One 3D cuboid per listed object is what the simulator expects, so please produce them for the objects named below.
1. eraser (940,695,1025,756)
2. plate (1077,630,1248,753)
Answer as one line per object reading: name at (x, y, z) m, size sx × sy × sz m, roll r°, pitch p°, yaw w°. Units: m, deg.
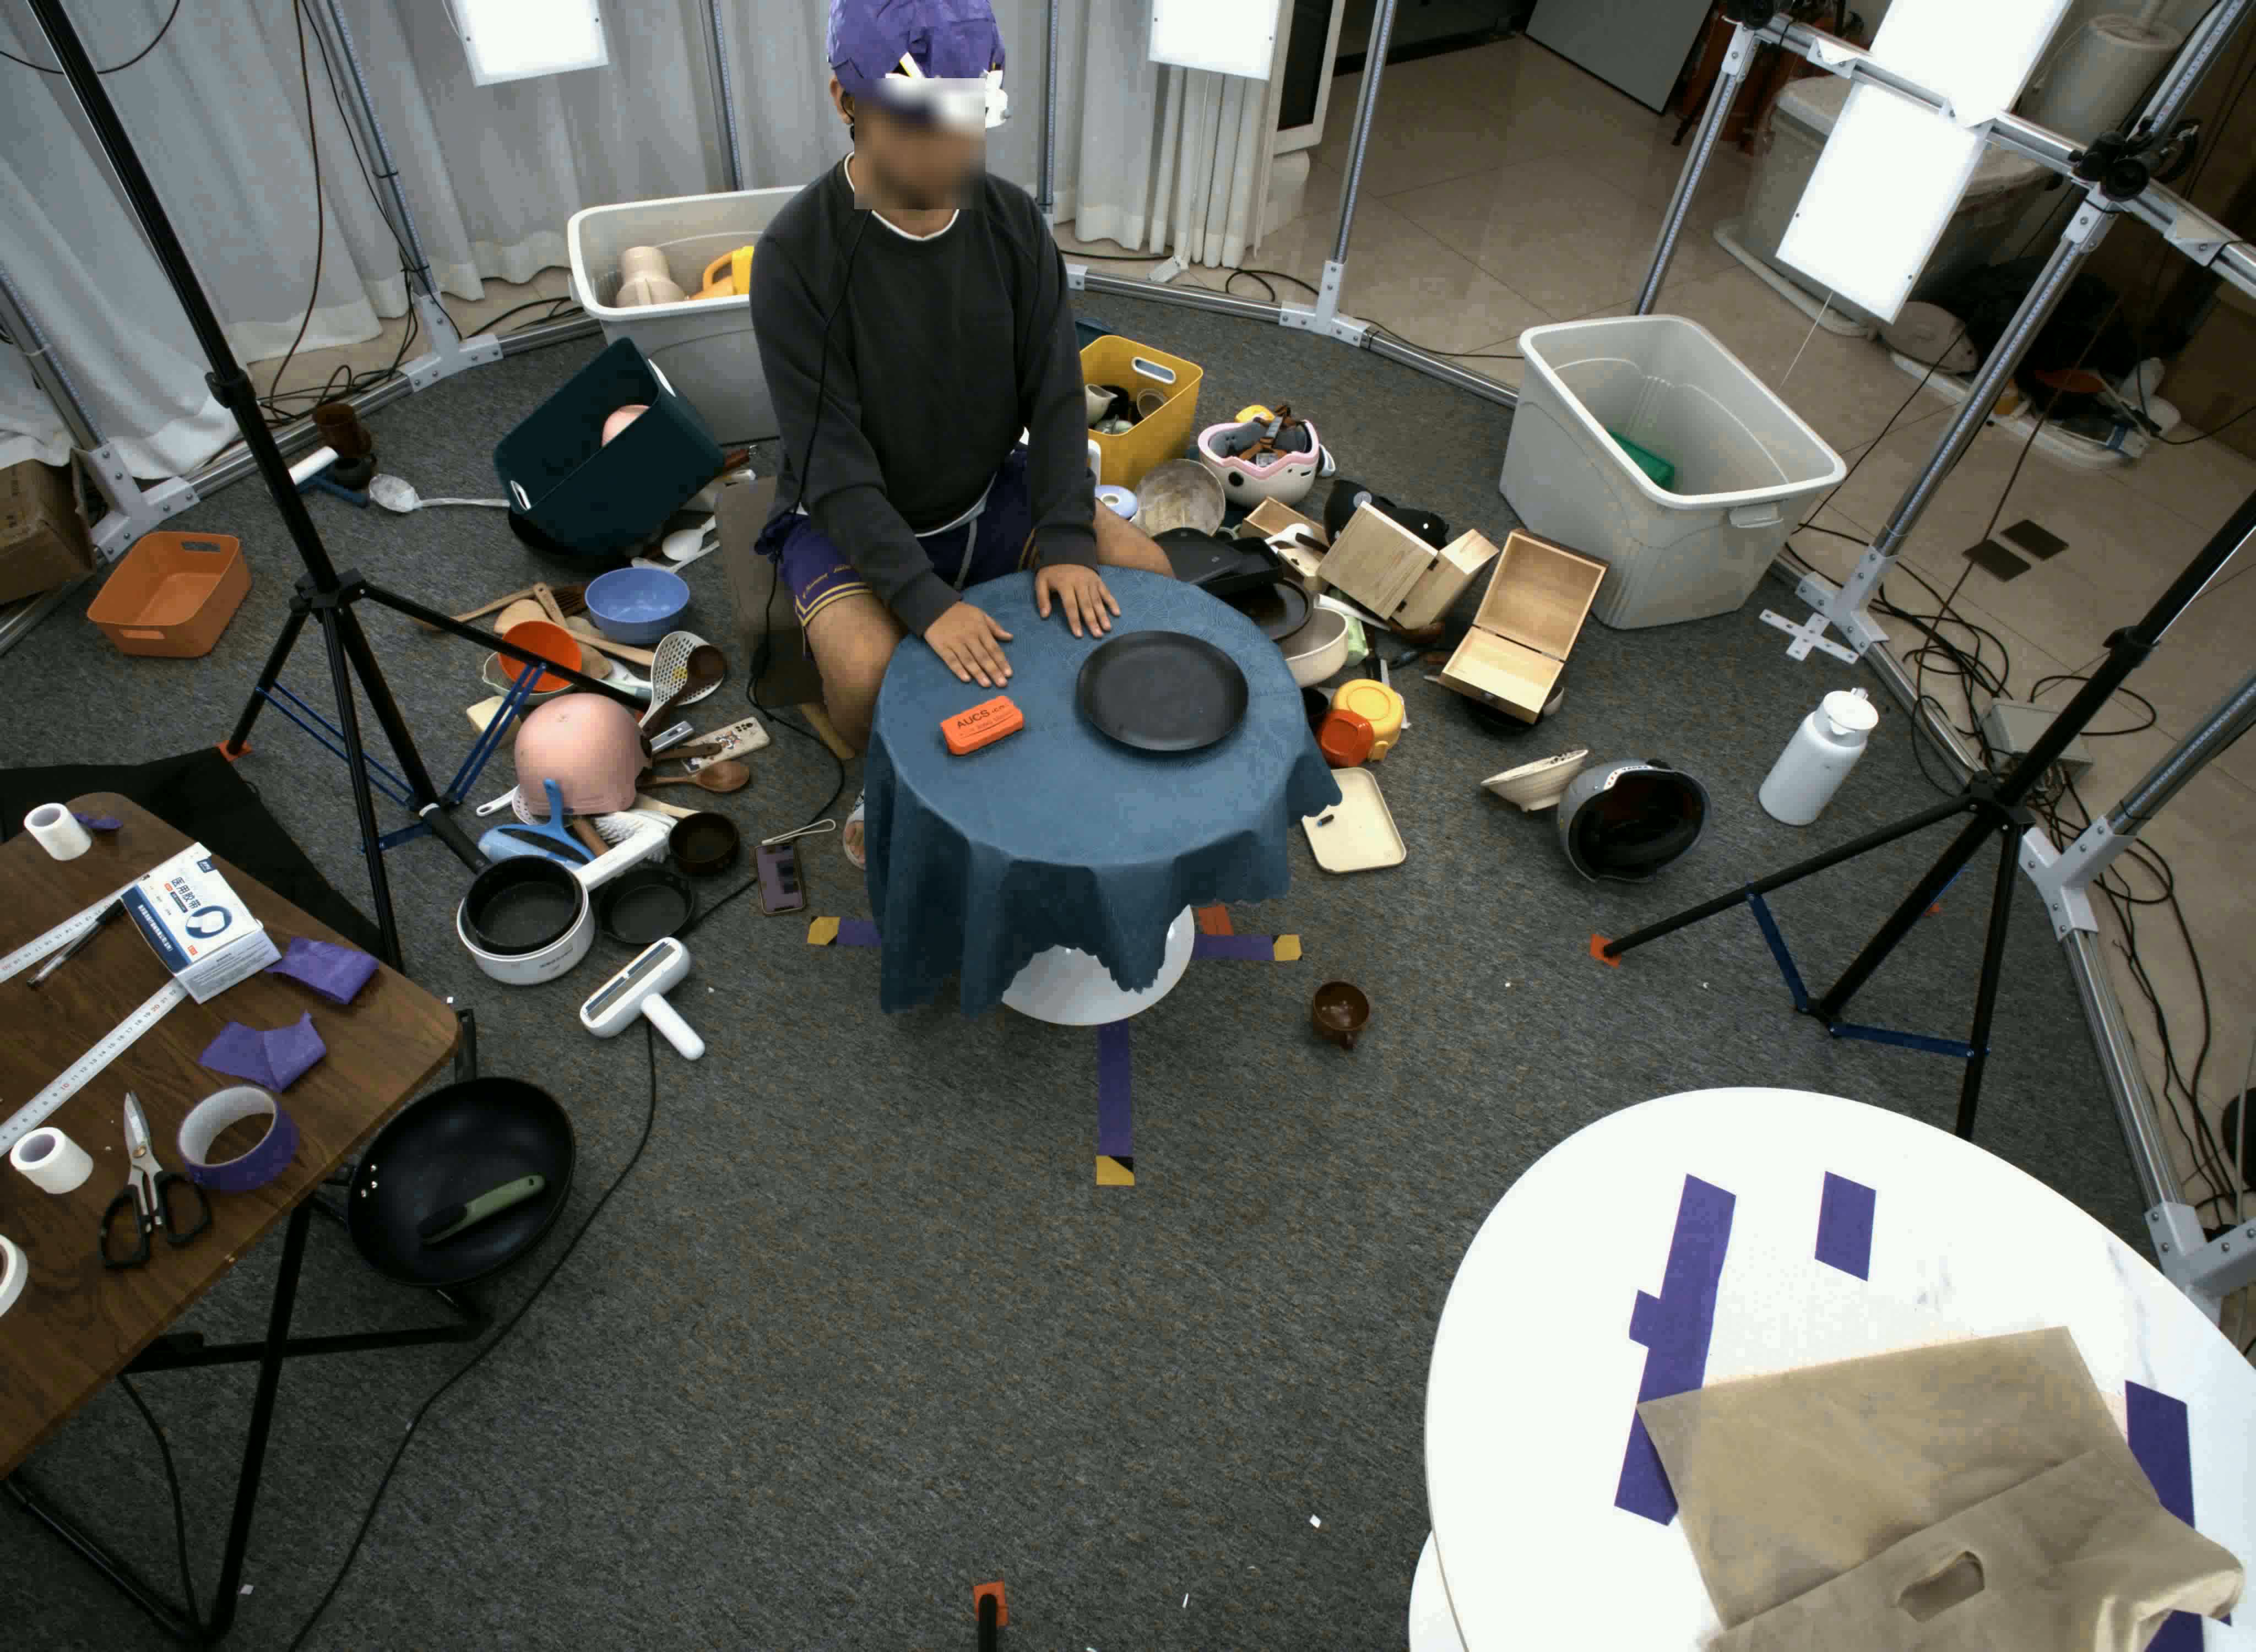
eraser at (-0.198, -0.138, 1.754) m, size 0.108 × 0.022 × 0.060 m, roll -26°, pitch 56°, yaw -26°
plate at (0.049, -0.189, 1.818) m, size 0.244 × 0.023 × 0.250 m, roll 2°, pitch 49°, yaw -2°
